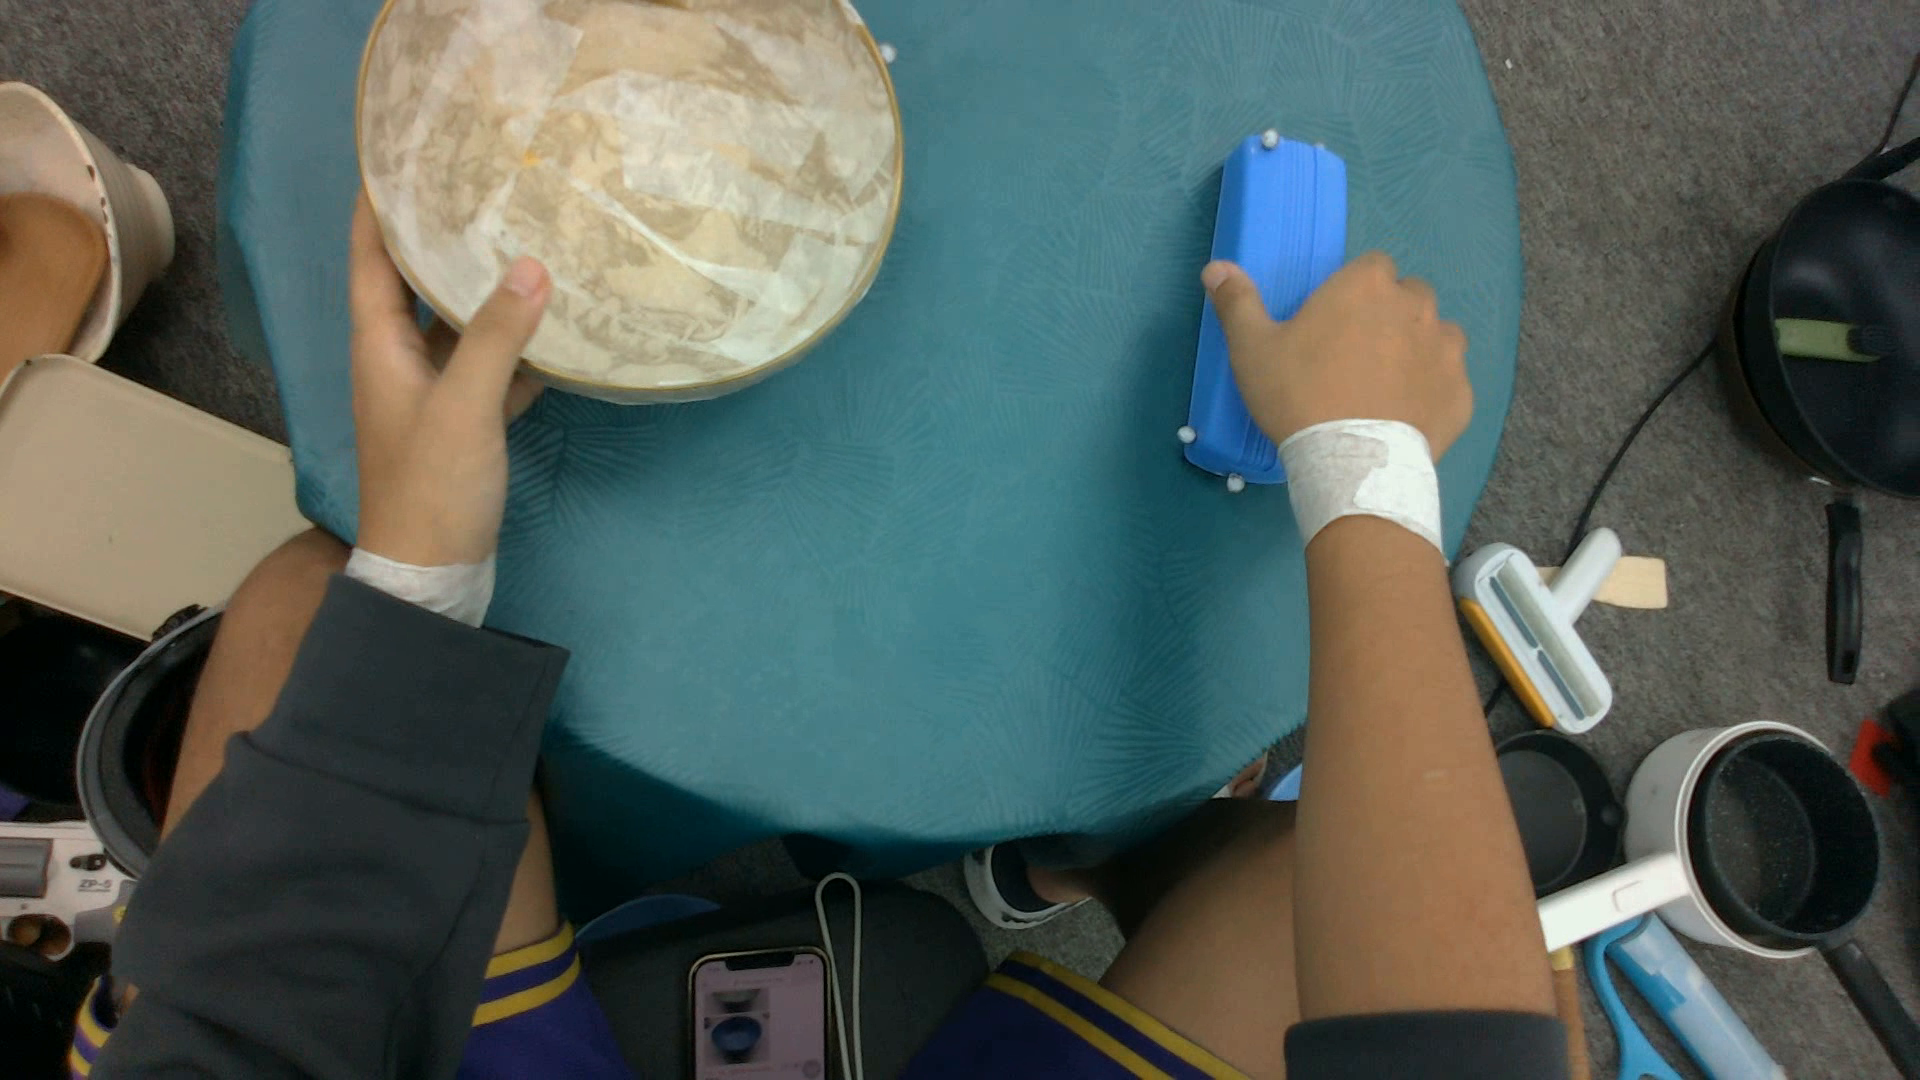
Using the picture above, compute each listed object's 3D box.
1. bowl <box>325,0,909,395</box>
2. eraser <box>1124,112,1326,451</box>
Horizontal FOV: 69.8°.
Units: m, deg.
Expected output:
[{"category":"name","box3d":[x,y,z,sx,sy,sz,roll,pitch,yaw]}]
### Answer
[{"category":"bowl","box3d":[-0.134,-0.146,0.554,0.215,0.094,0.215,3,78,-16]},{"category":"eraser","box3d":[0.128,-0.122,0.640,0.054,0.047,0.162,23,74,-16]}]
